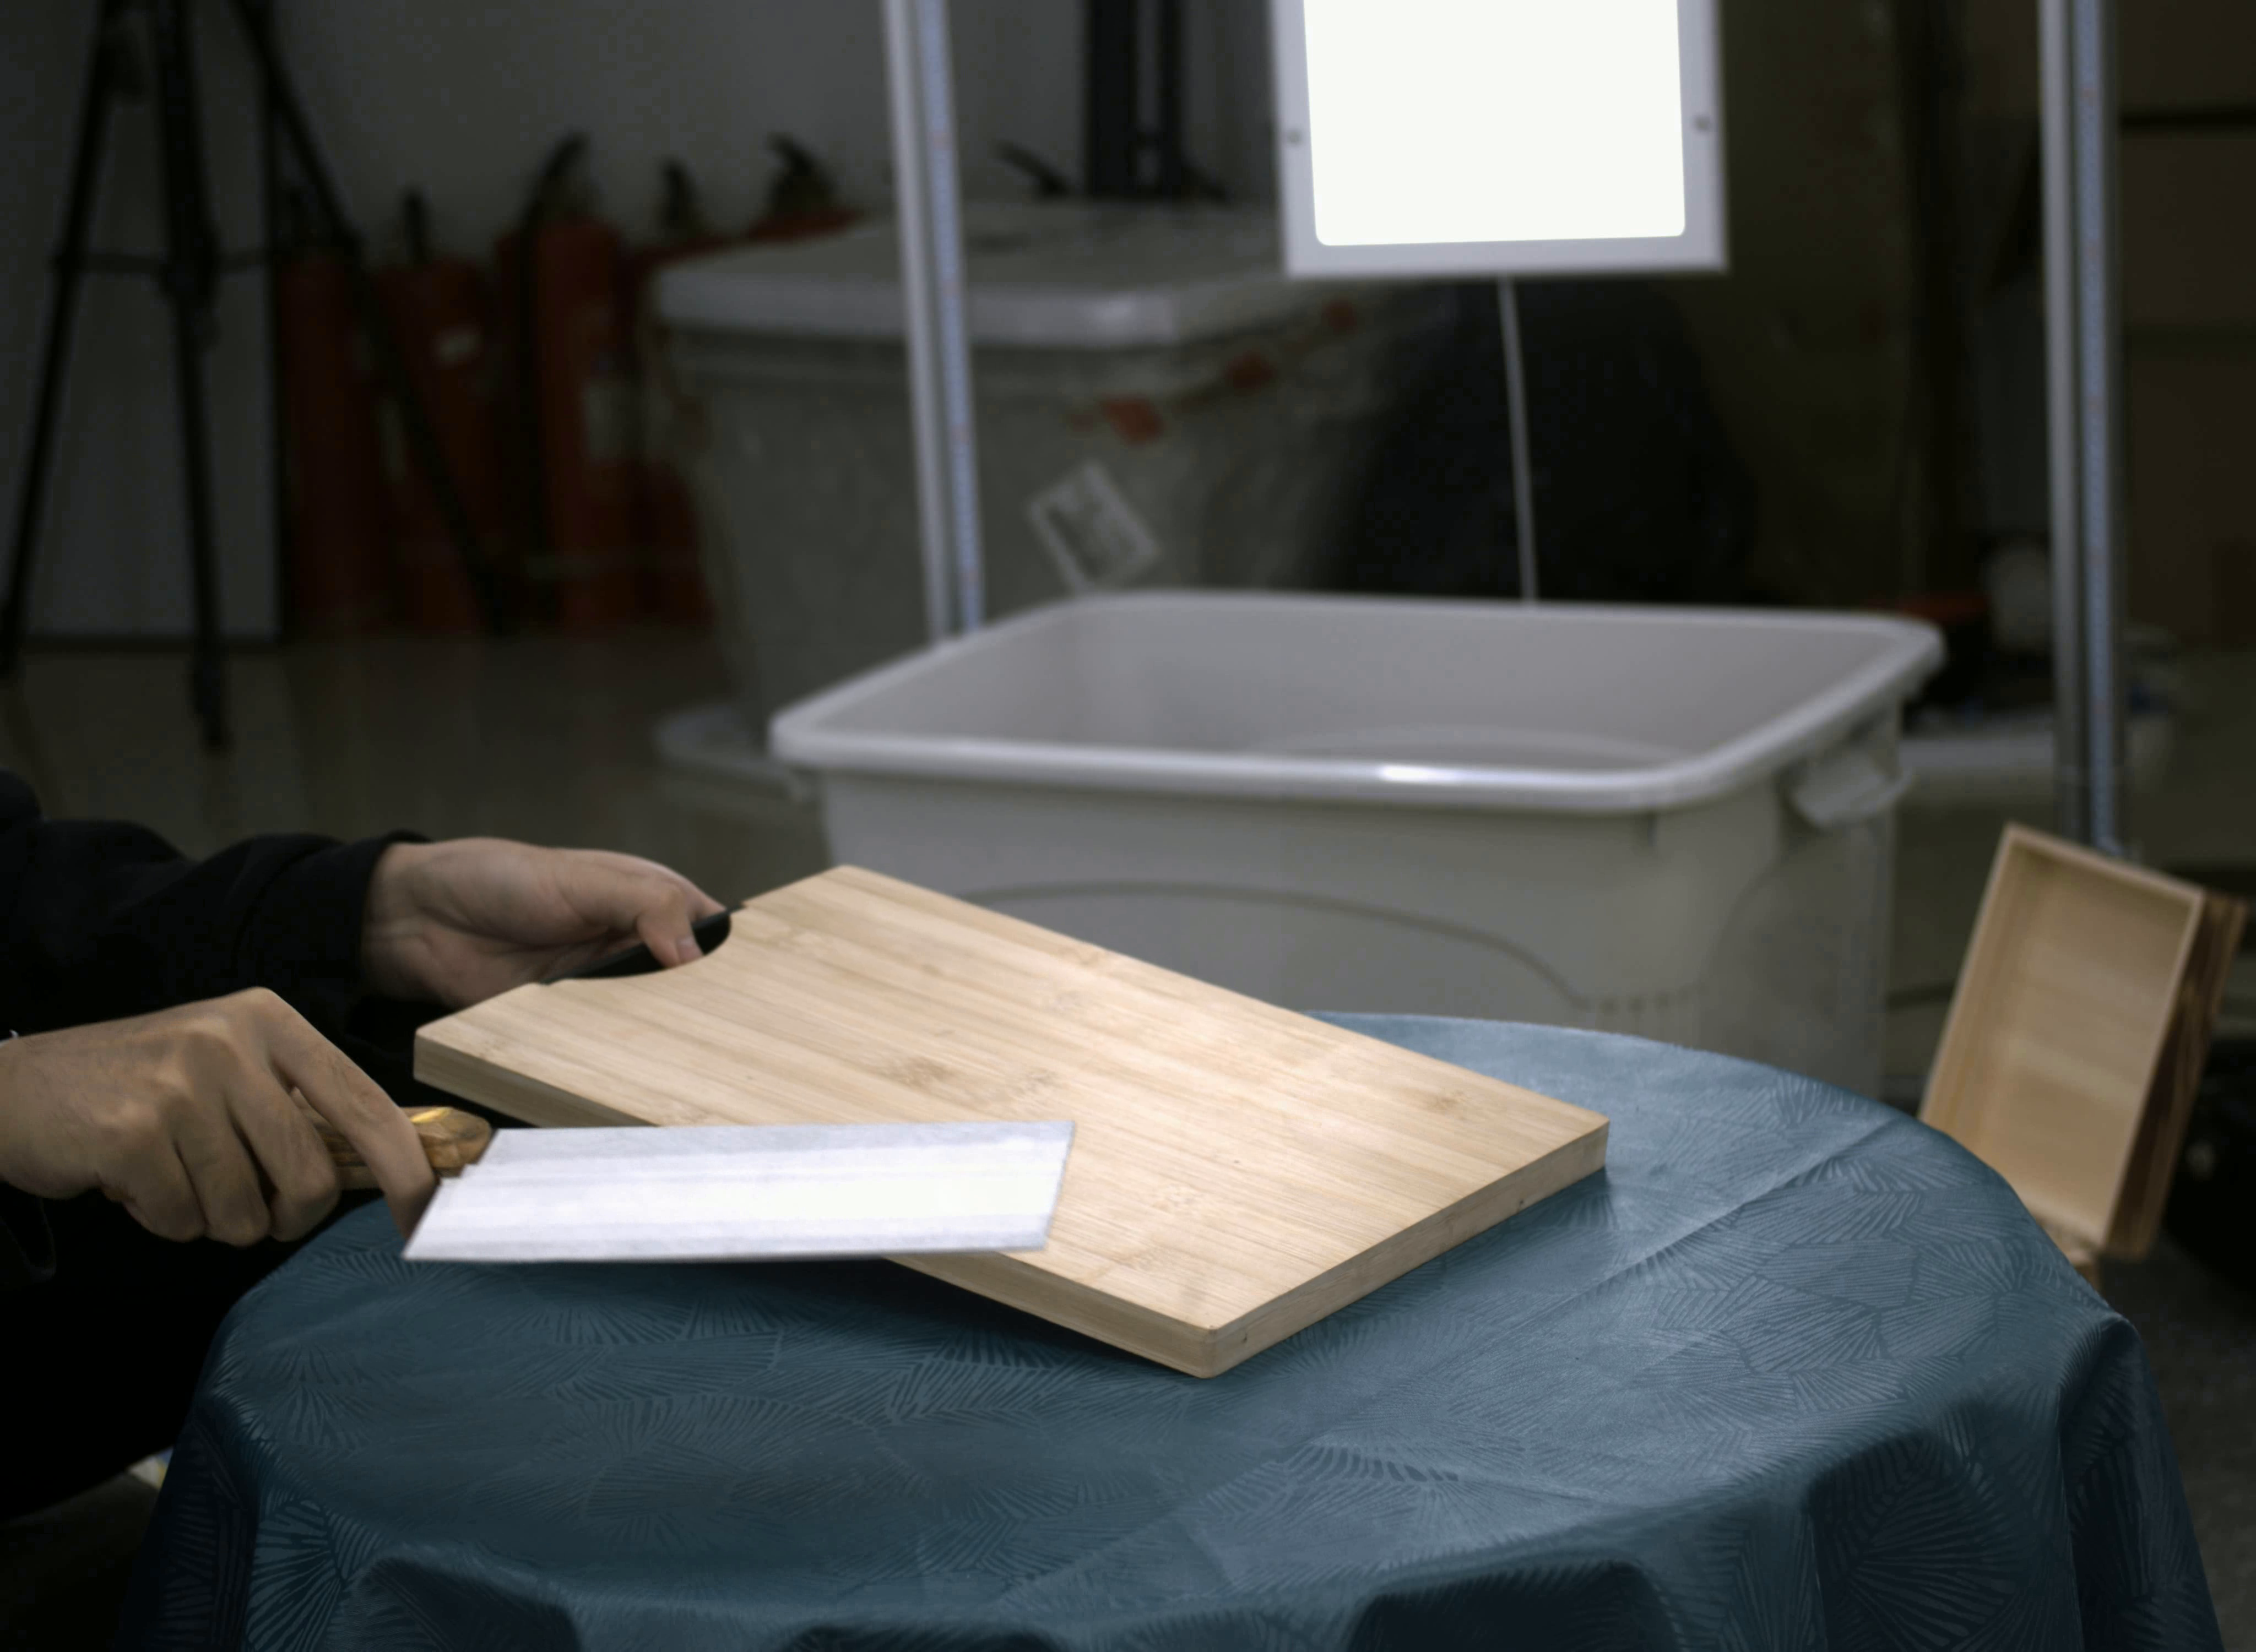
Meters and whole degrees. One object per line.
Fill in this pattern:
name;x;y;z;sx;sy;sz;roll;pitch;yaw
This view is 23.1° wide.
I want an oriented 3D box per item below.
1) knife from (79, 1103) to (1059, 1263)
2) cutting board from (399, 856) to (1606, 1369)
knife;-0.172;0.107;1.647;0.307;0.021;0.092;-2;21;9
cutting board;-0.044;0.092;1.892;0.355;0.024;0.244;17;24;33
